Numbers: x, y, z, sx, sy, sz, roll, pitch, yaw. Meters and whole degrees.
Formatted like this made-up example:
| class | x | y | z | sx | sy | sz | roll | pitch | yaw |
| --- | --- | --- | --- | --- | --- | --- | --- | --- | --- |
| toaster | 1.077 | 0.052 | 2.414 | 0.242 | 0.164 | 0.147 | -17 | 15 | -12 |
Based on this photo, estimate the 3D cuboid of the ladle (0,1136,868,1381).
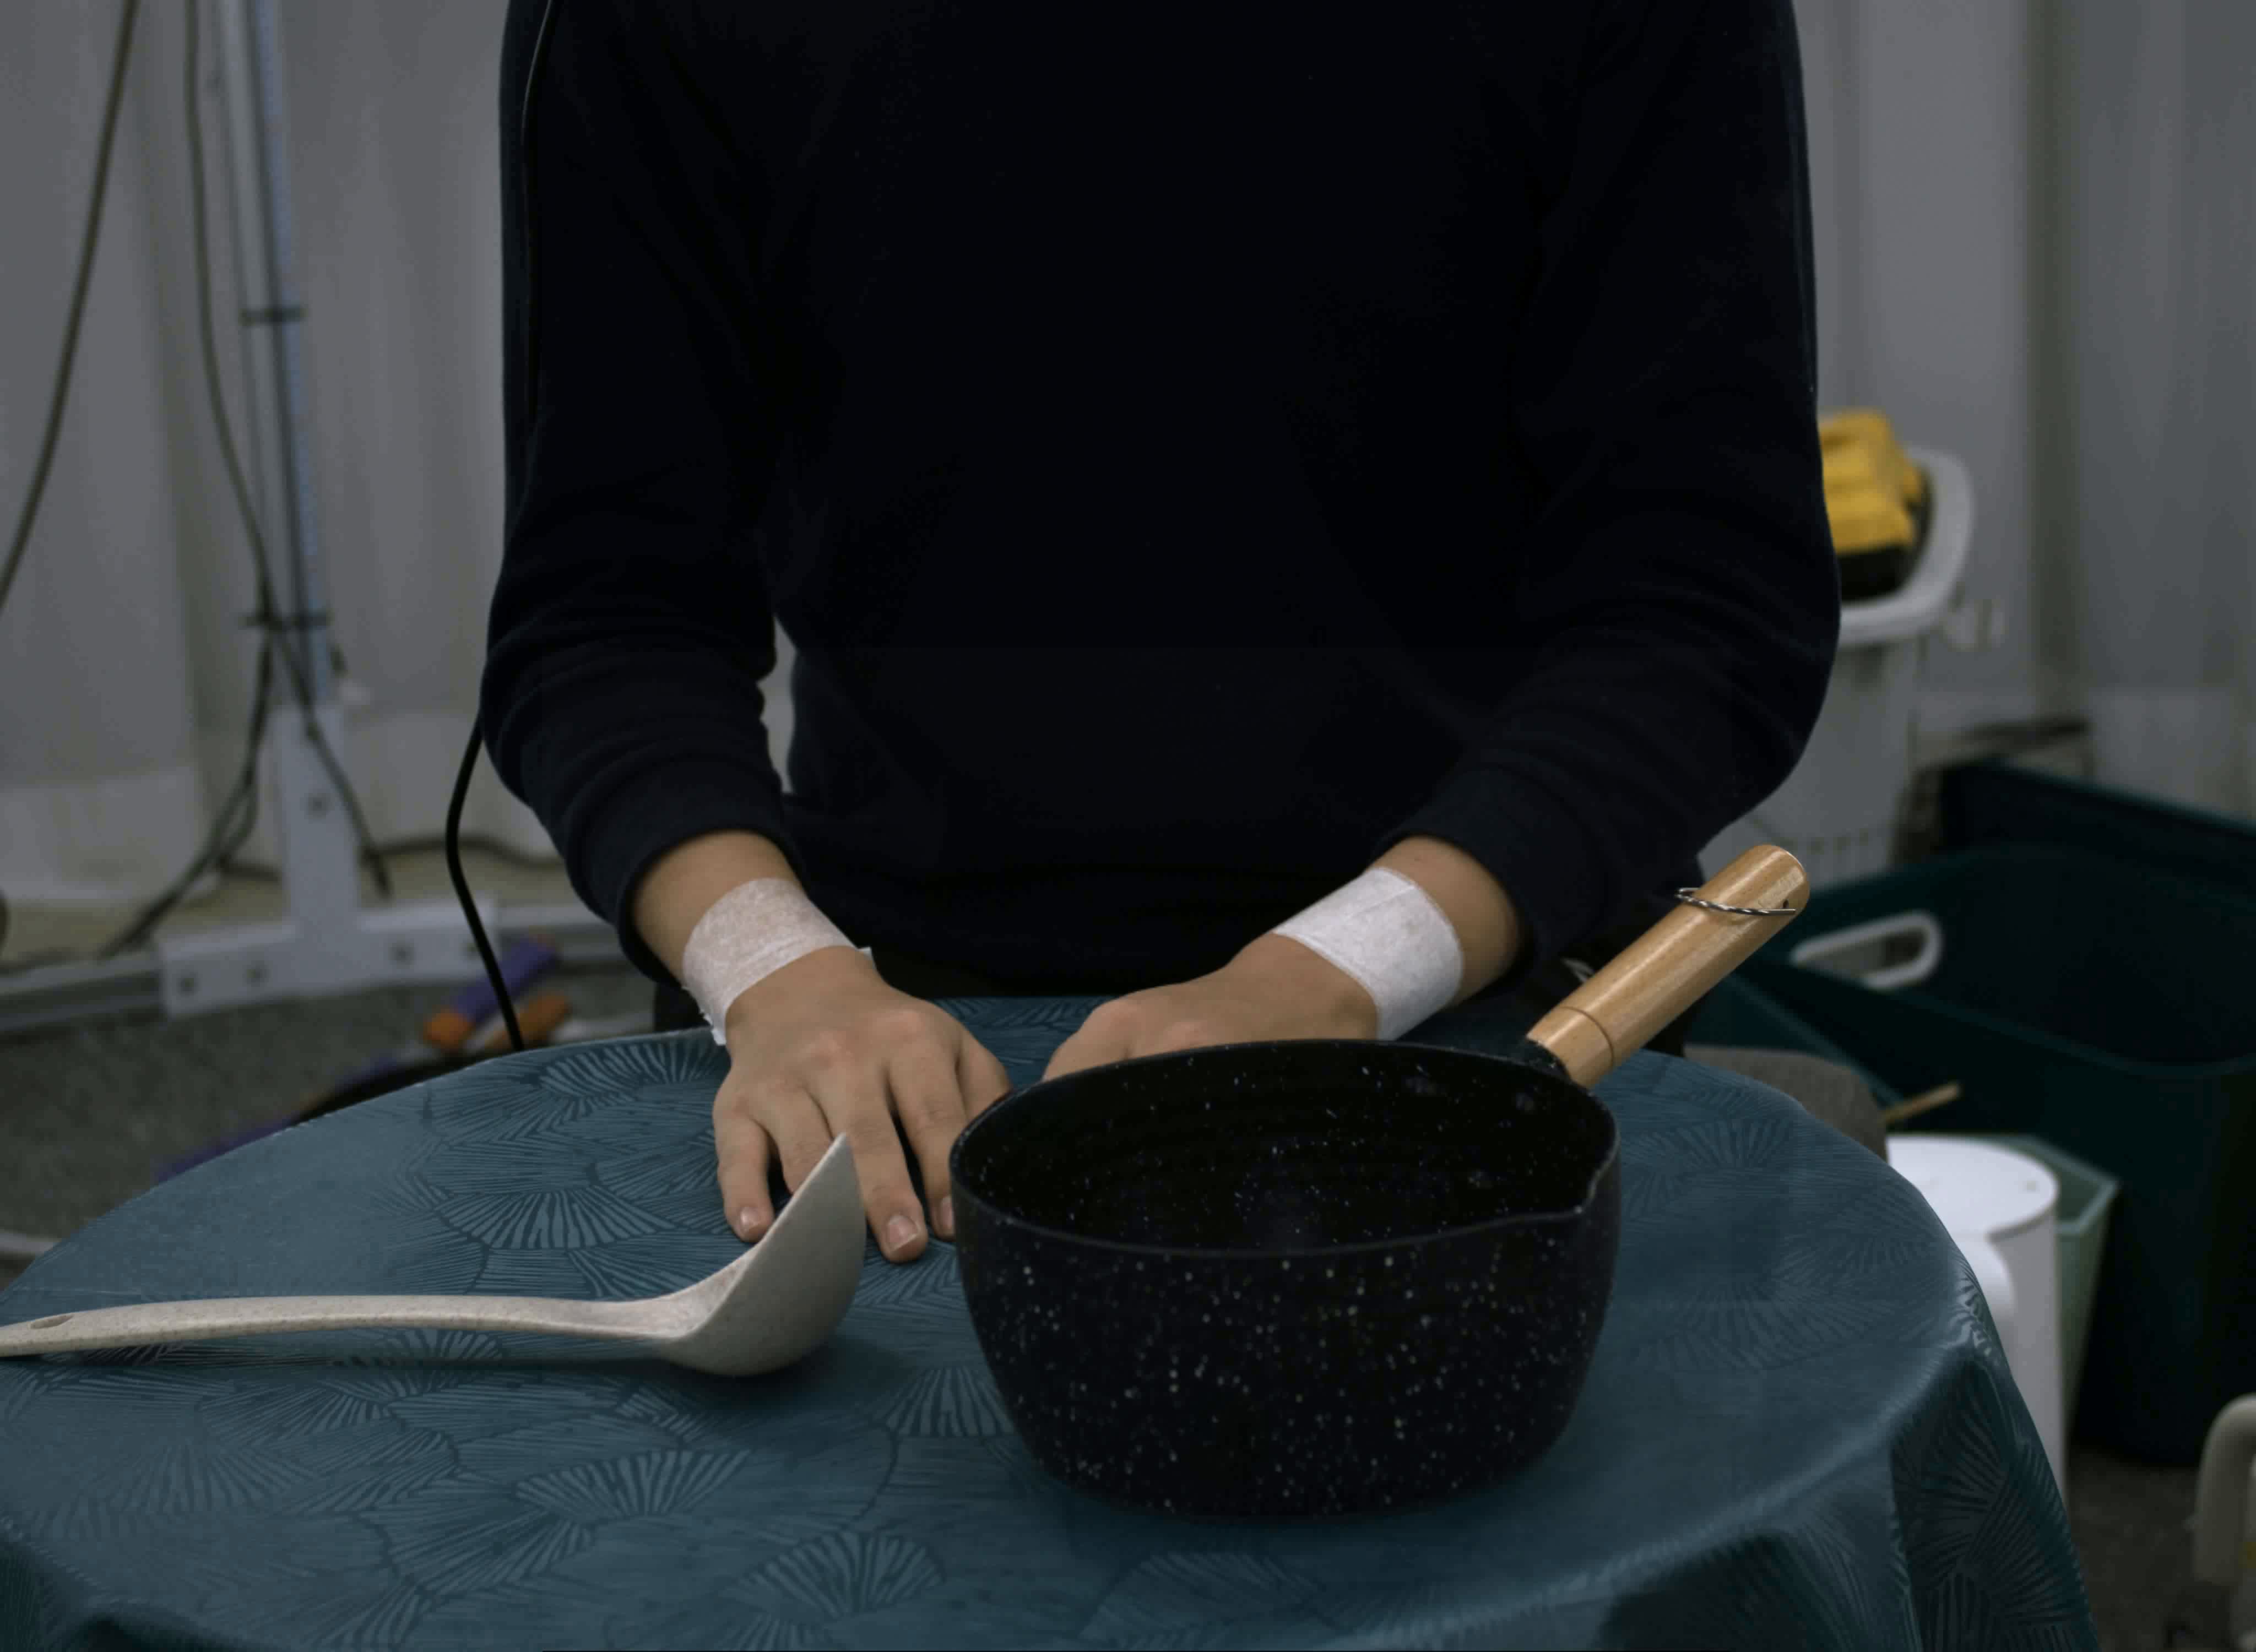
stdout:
| class | x | y | z | sx | sy | sz | roll | pitch | yaw |
| --- | --- | --- | --- | --- | --- | --- | --- | --- | --- |
| ladle | -0.210 | 0.123 | 1.592 | 0.274 | 0.069 | 0.090 | 1 | 18 | 11 |

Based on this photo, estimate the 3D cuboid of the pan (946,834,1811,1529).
| class | x | y | z | sx | sy | sz | roll | pitch | yaw |
| --- | --- | --- | --- | --- | --- | --- | --- | --- | --- |
| pan | 0.093 | 0.096 | 1.559 | 0.208 | 0.108 | 0.343 | 8 | 20 | 38 |
